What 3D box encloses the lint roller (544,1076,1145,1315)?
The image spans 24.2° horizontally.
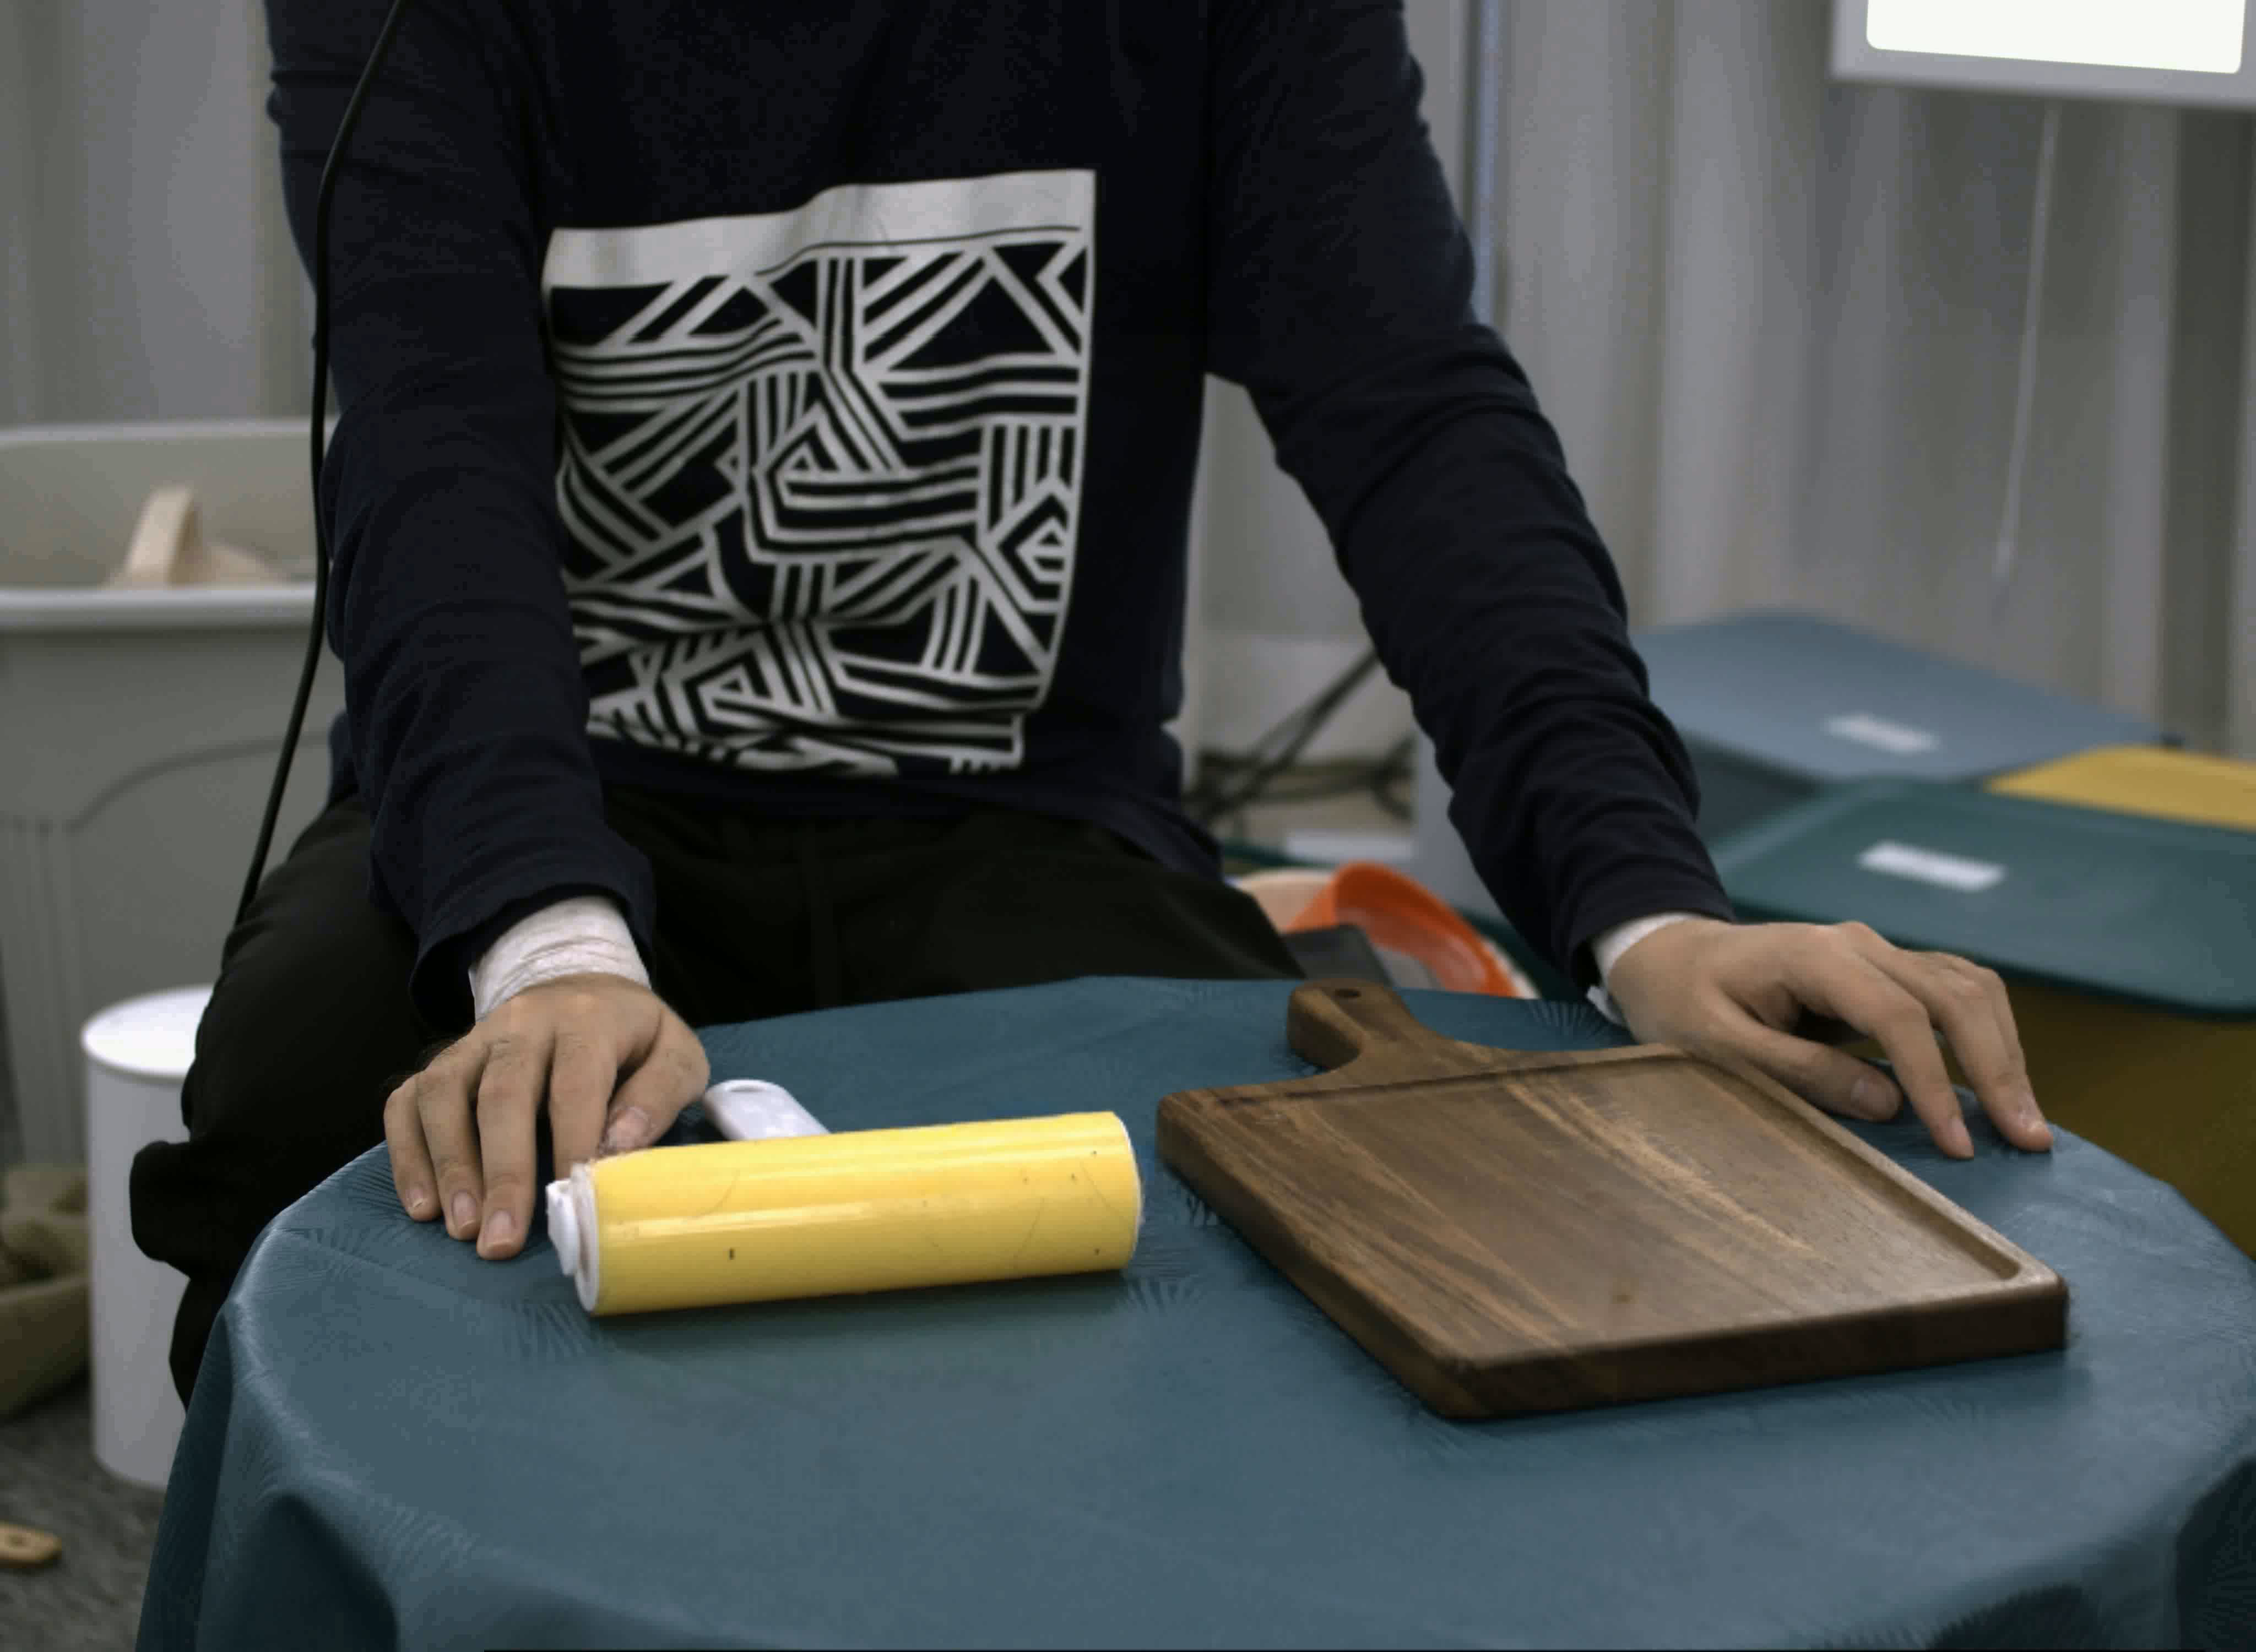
[{"bbox_3d":[-0.101,0.094,1.596,0.174,0.052,0.190,-3,19,-17],"label":"lint roller"}]

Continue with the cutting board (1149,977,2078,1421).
[{"bbox_3d":[0.123,0.104,1.622,0.201,0.023,0.348,-4,16,-19],"label":"cutting board"}]
